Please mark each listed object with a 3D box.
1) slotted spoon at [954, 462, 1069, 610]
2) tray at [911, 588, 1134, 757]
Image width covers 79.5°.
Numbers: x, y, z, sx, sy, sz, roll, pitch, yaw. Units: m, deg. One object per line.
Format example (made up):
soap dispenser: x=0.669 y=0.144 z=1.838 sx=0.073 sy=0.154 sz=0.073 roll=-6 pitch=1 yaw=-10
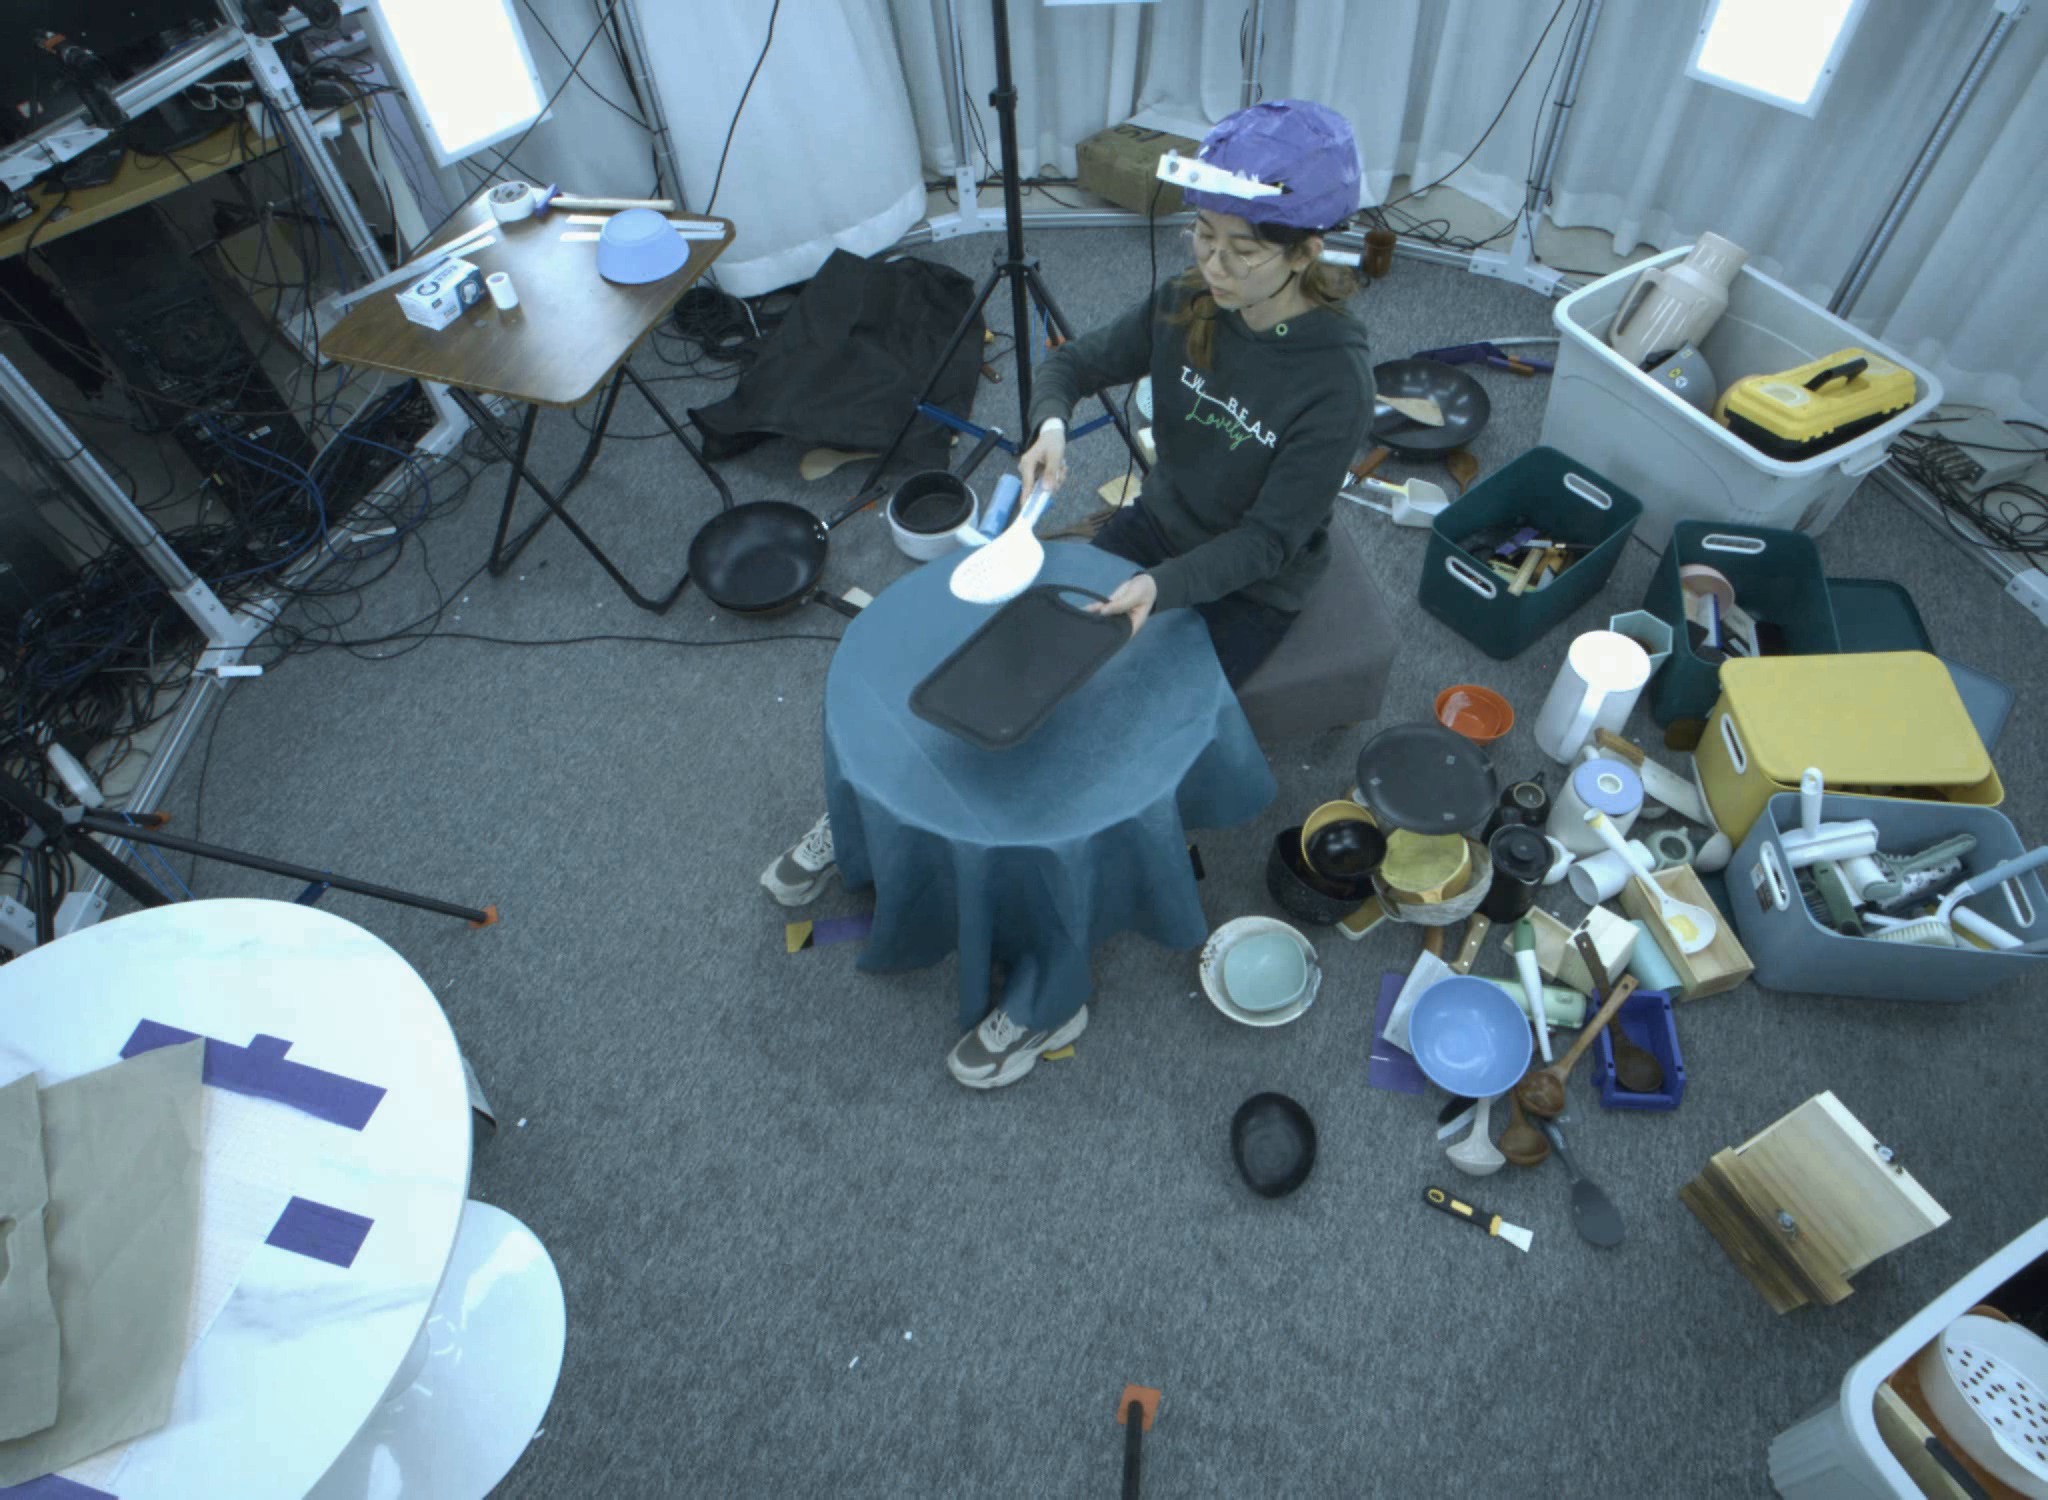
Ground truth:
slotted spoon: x=0.002 y=-0.313 z=1.764 sx=0.134 sy=0.046 sz=0.348 roll=0 pitch=50 yaw=25
tray: x=0.003 y=-0.123 z=1.735 sx=0.206 sy=0.010 sz=0.327 roll=27 pitch=59 yaw=32
